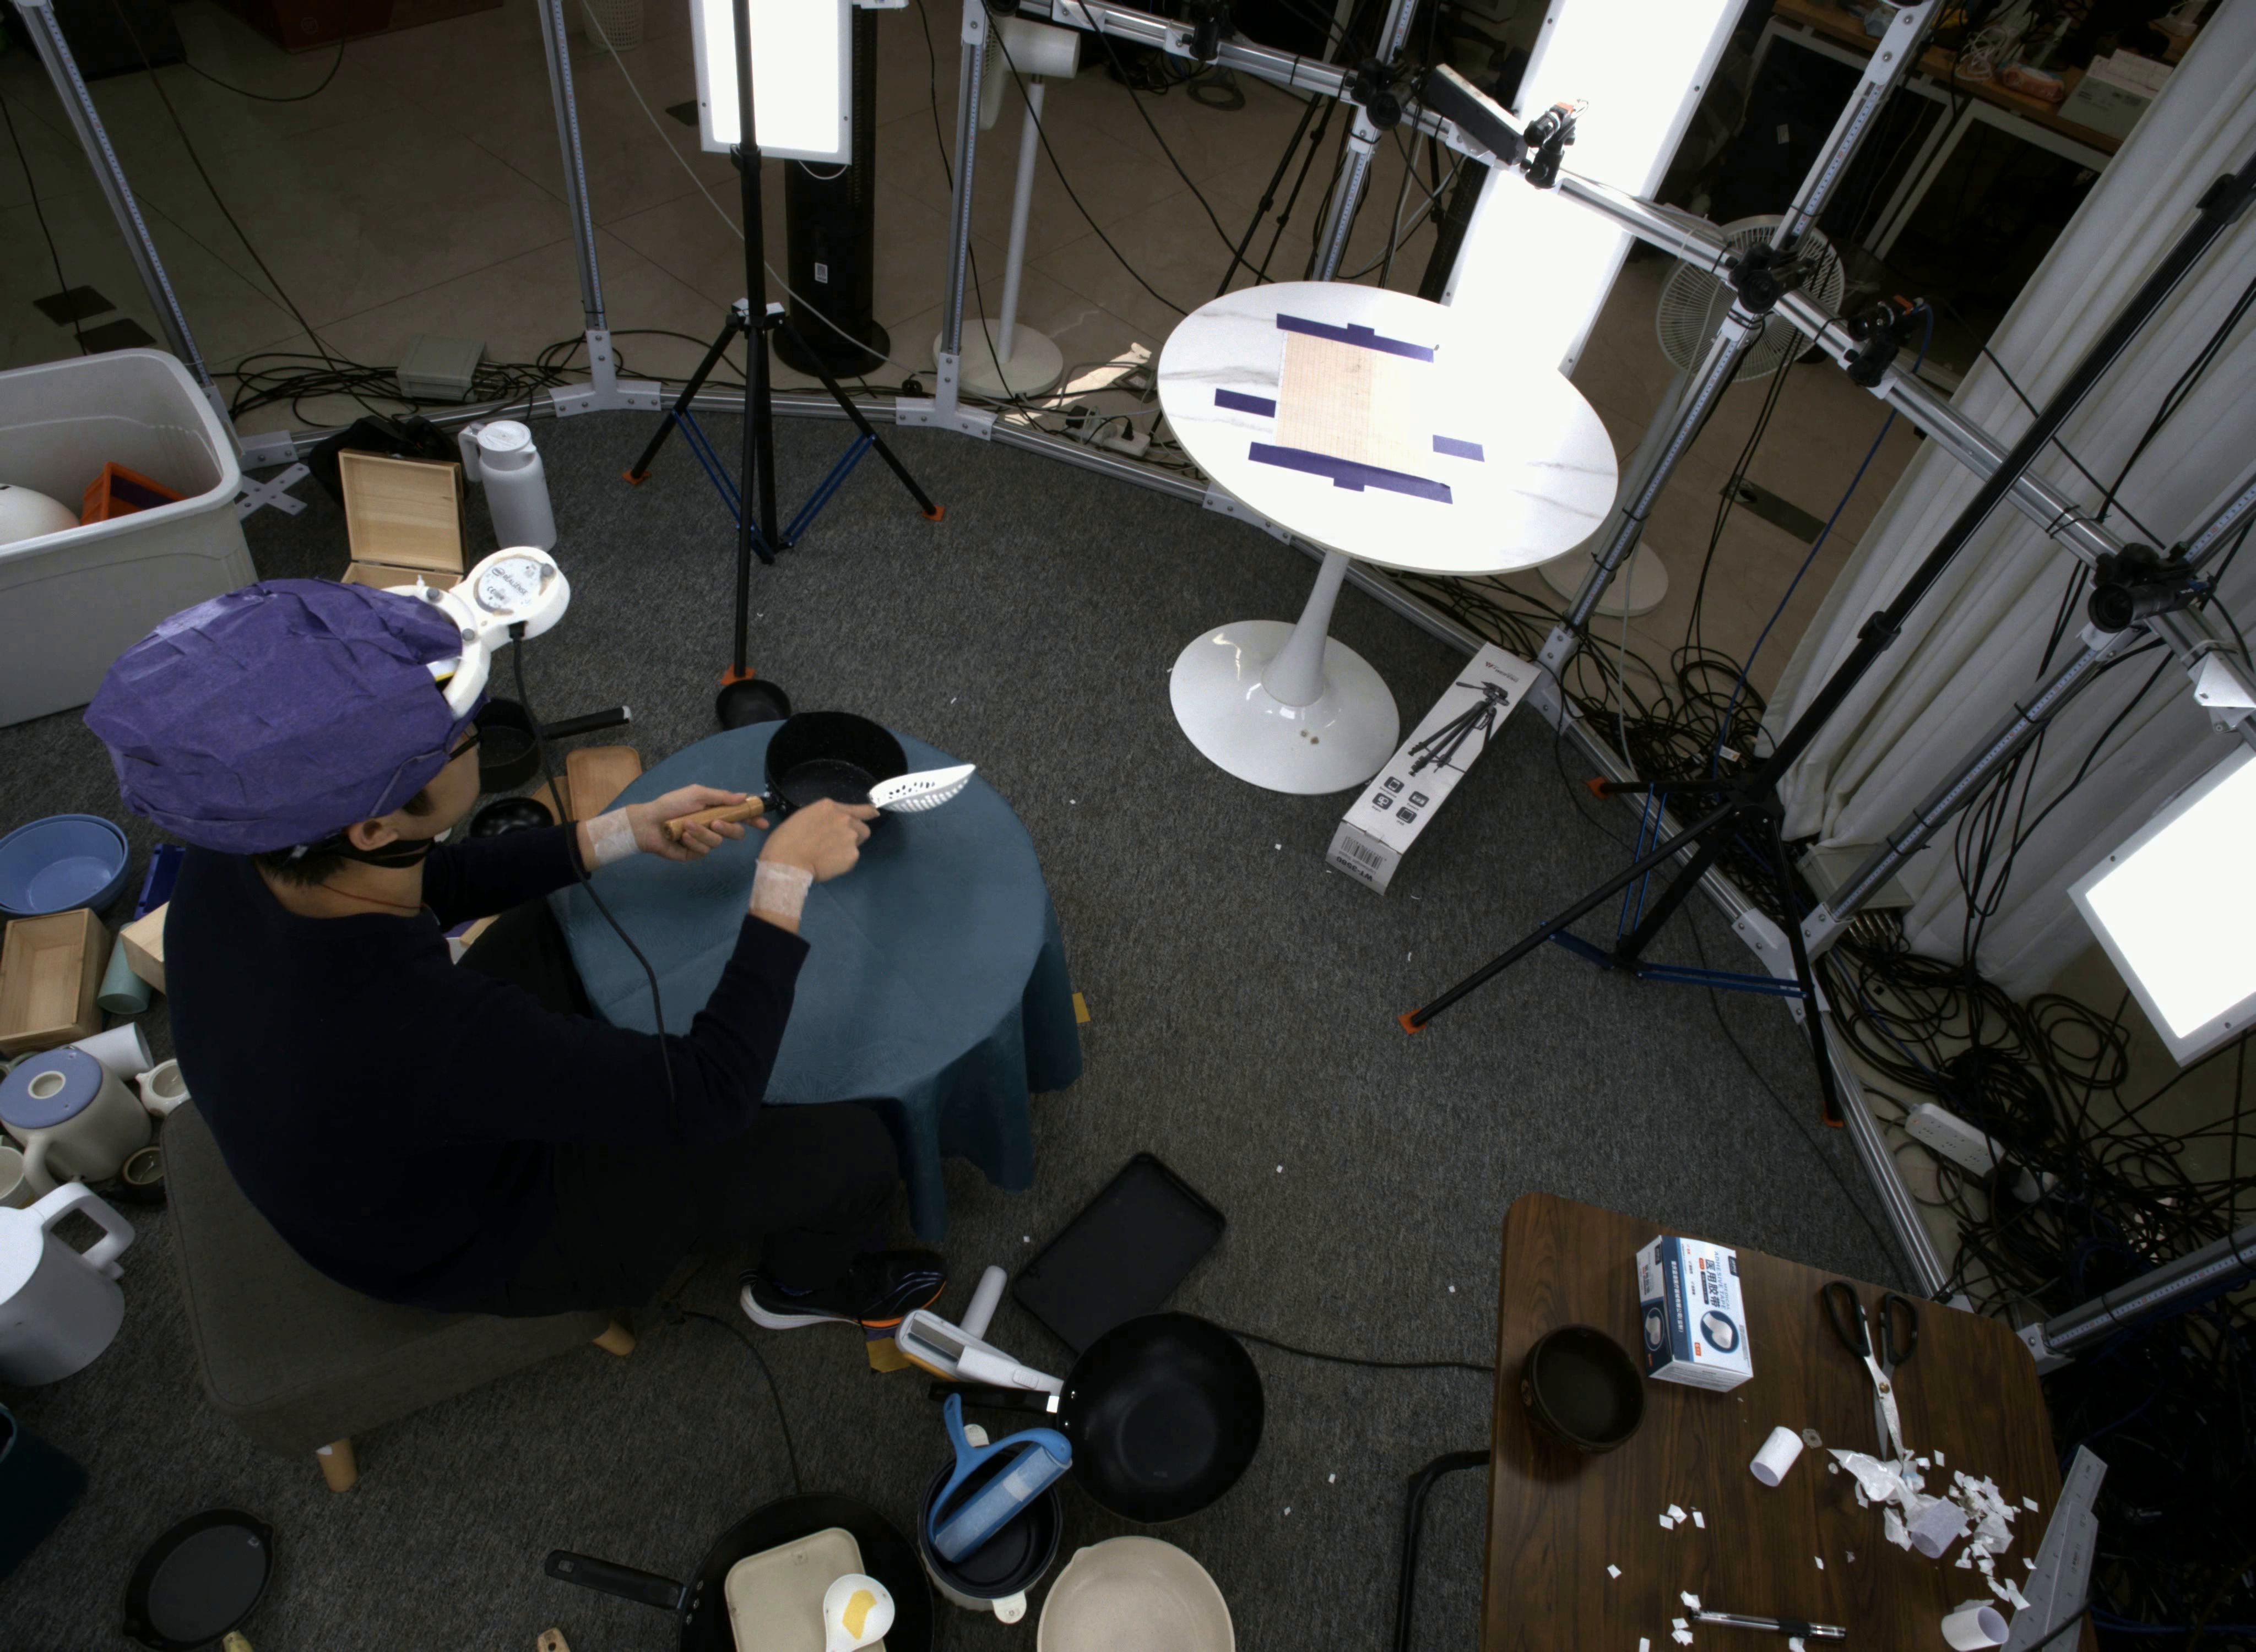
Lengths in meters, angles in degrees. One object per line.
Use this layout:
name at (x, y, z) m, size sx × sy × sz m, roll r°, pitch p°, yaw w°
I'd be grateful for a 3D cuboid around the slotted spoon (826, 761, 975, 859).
slotted spoon at (-0.284, -0.023, 1.533) m, size 0.134 × 0.051 × 0.348 m, roll -8°, pitch 9°, yaw 16°

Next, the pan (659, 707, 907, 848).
pan at (-0.440, -0.032, 1.648) m, size 0.344 × 0.110 × 0.203 m, roll -31°, pitch 69°, yaw -38°
